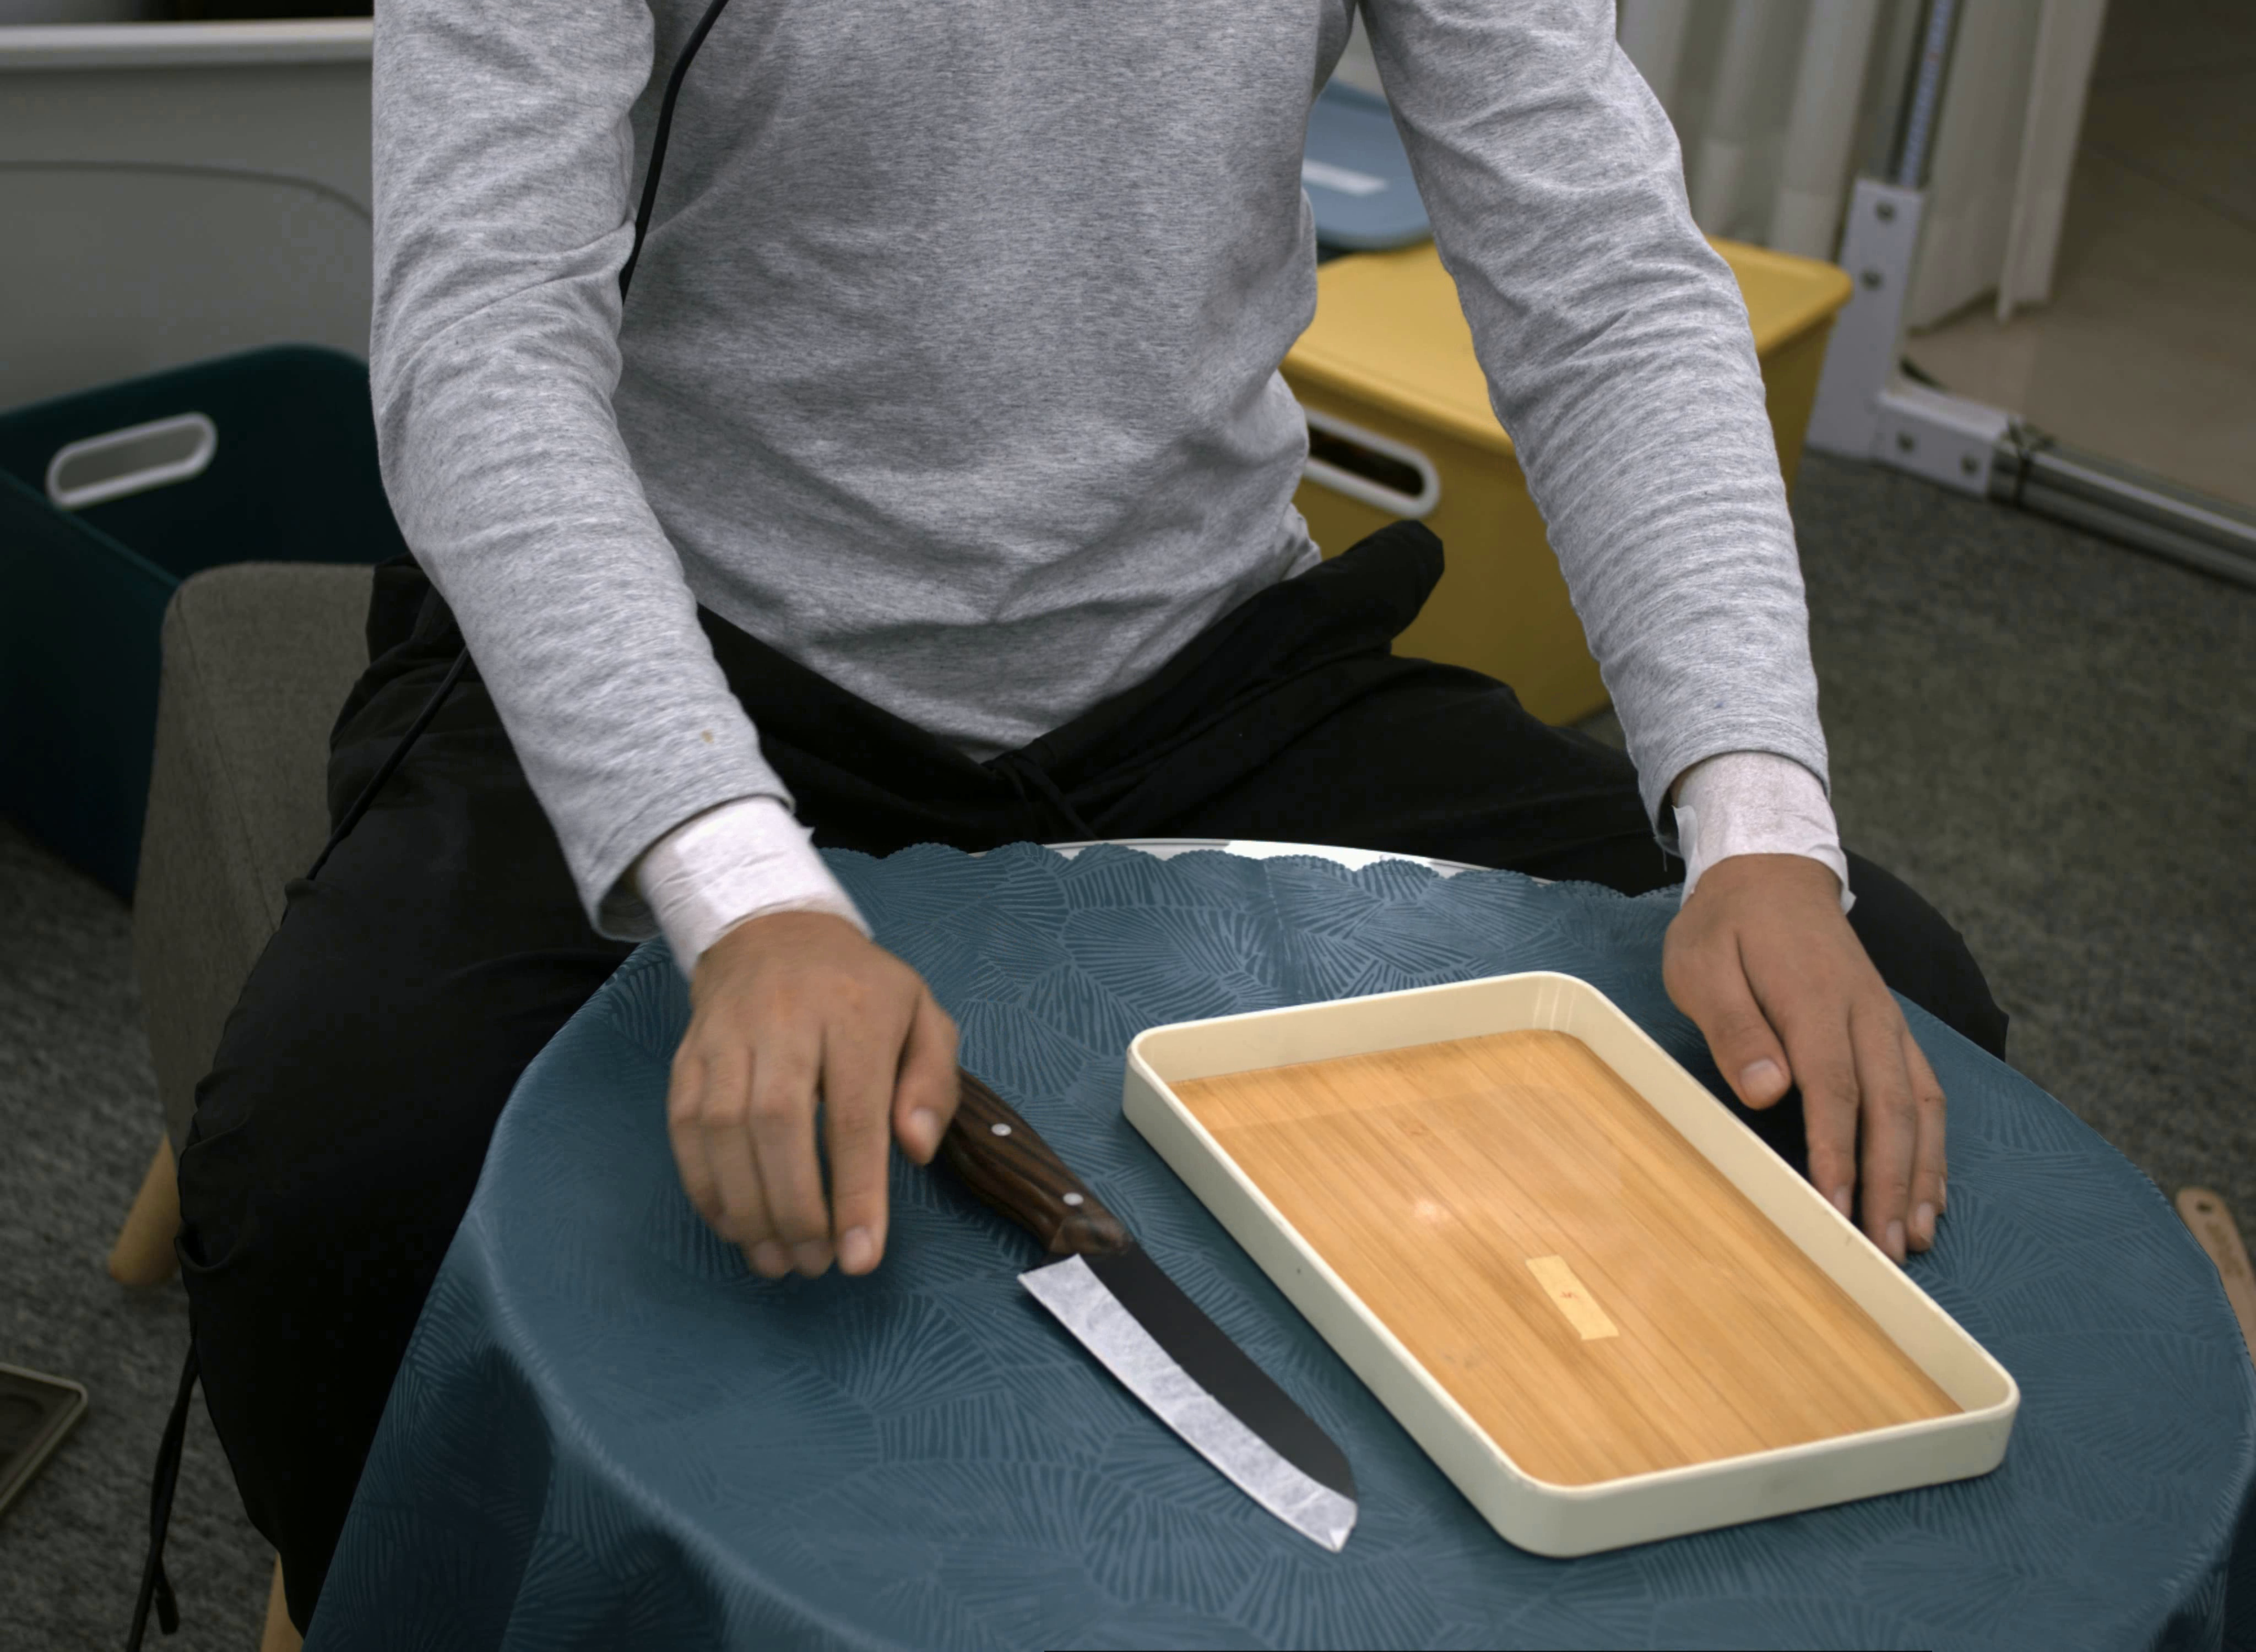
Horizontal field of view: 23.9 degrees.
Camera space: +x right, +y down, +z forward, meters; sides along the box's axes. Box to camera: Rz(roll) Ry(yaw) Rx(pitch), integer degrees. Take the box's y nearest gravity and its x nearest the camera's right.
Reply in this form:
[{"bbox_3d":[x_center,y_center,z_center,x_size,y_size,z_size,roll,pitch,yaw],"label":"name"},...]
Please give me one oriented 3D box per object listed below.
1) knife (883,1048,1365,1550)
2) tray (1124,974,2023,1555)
[{"bbox_3d":[-0.004,0.152,1.732,0.050,0.020,0.292,-17,36,-25],"label":"knife"},{"bbox_3d":[0.142,0.139,1.777,0.190,0.027,0.303,-7,29,-25],"label":"tray"}]
